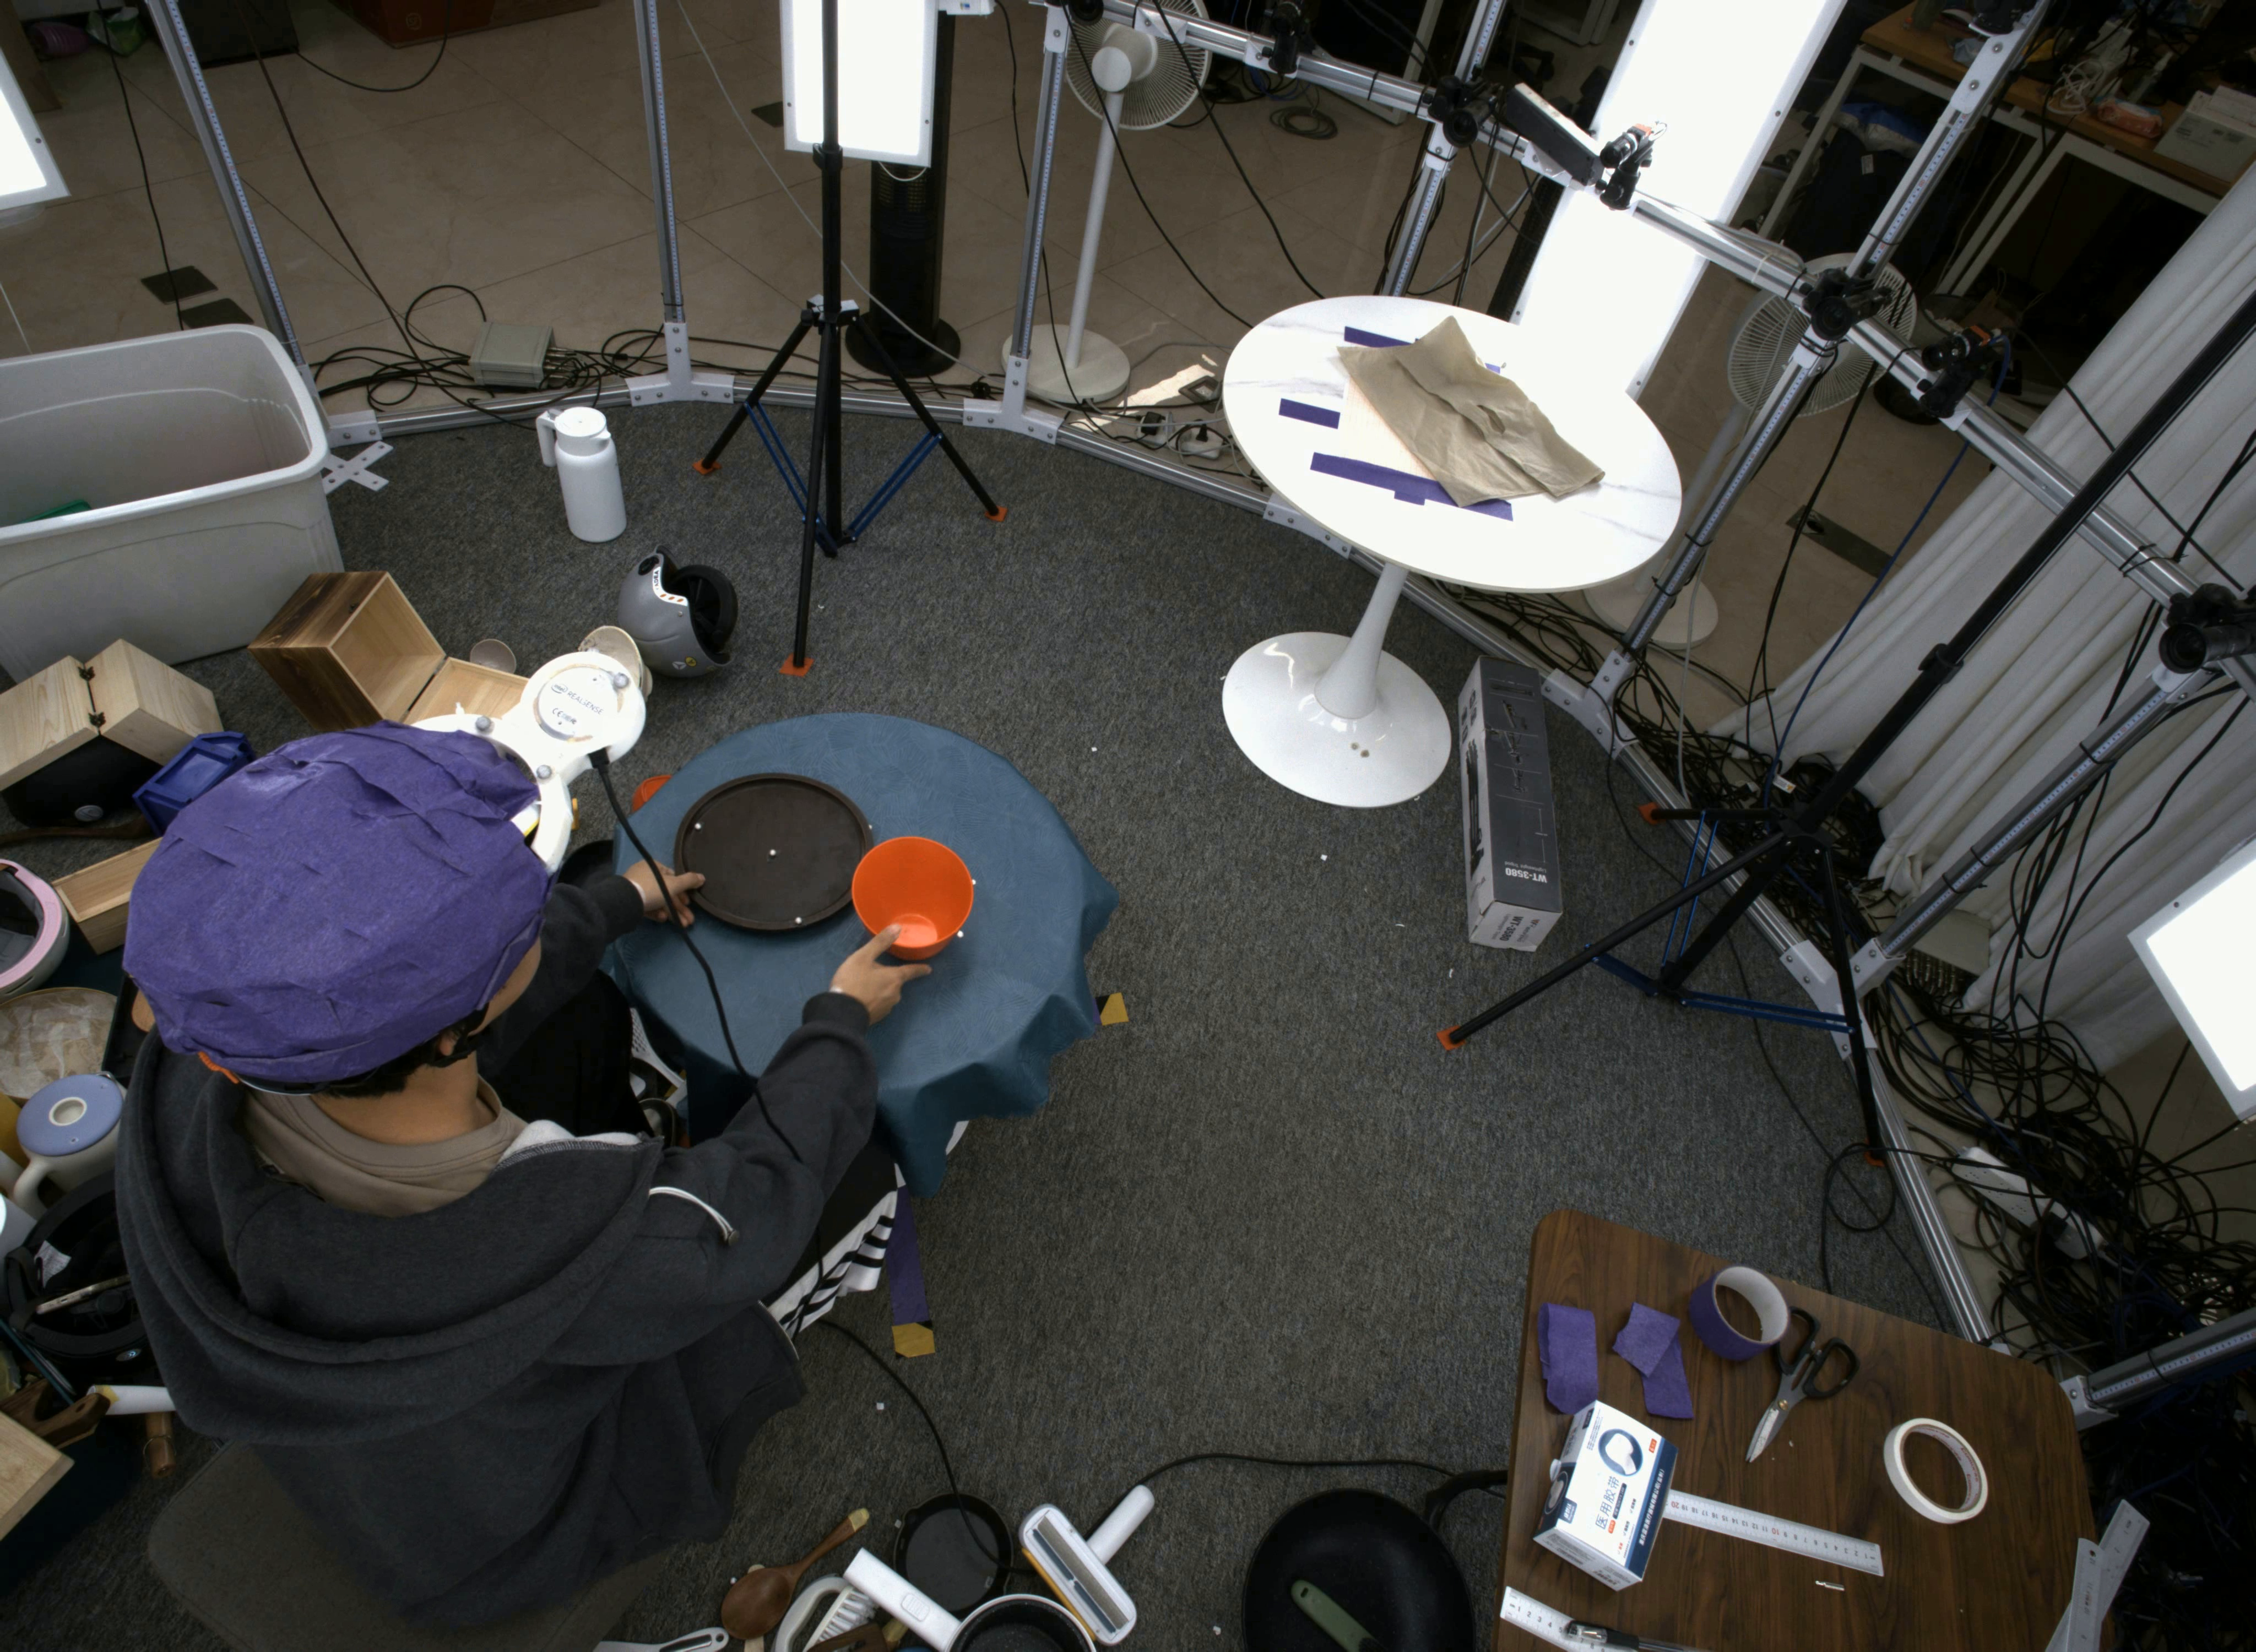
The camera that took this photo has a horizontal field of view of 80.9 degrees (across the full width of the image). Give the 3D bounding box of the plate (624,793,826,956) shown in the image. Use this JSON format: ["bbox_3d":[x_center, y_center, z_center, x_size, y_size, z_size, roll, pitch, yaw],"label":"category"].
[{"bbox_3d":[-0.513,0.058,1.646,0.255,0.029,0.250,9,52,-10],"label":"plate"}]

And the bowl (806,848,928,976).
[{"bbox_3d":[-0.322,0.117,1.603,0.148,0.107,0.145,8,50,-9],"label":"bowl"}]
